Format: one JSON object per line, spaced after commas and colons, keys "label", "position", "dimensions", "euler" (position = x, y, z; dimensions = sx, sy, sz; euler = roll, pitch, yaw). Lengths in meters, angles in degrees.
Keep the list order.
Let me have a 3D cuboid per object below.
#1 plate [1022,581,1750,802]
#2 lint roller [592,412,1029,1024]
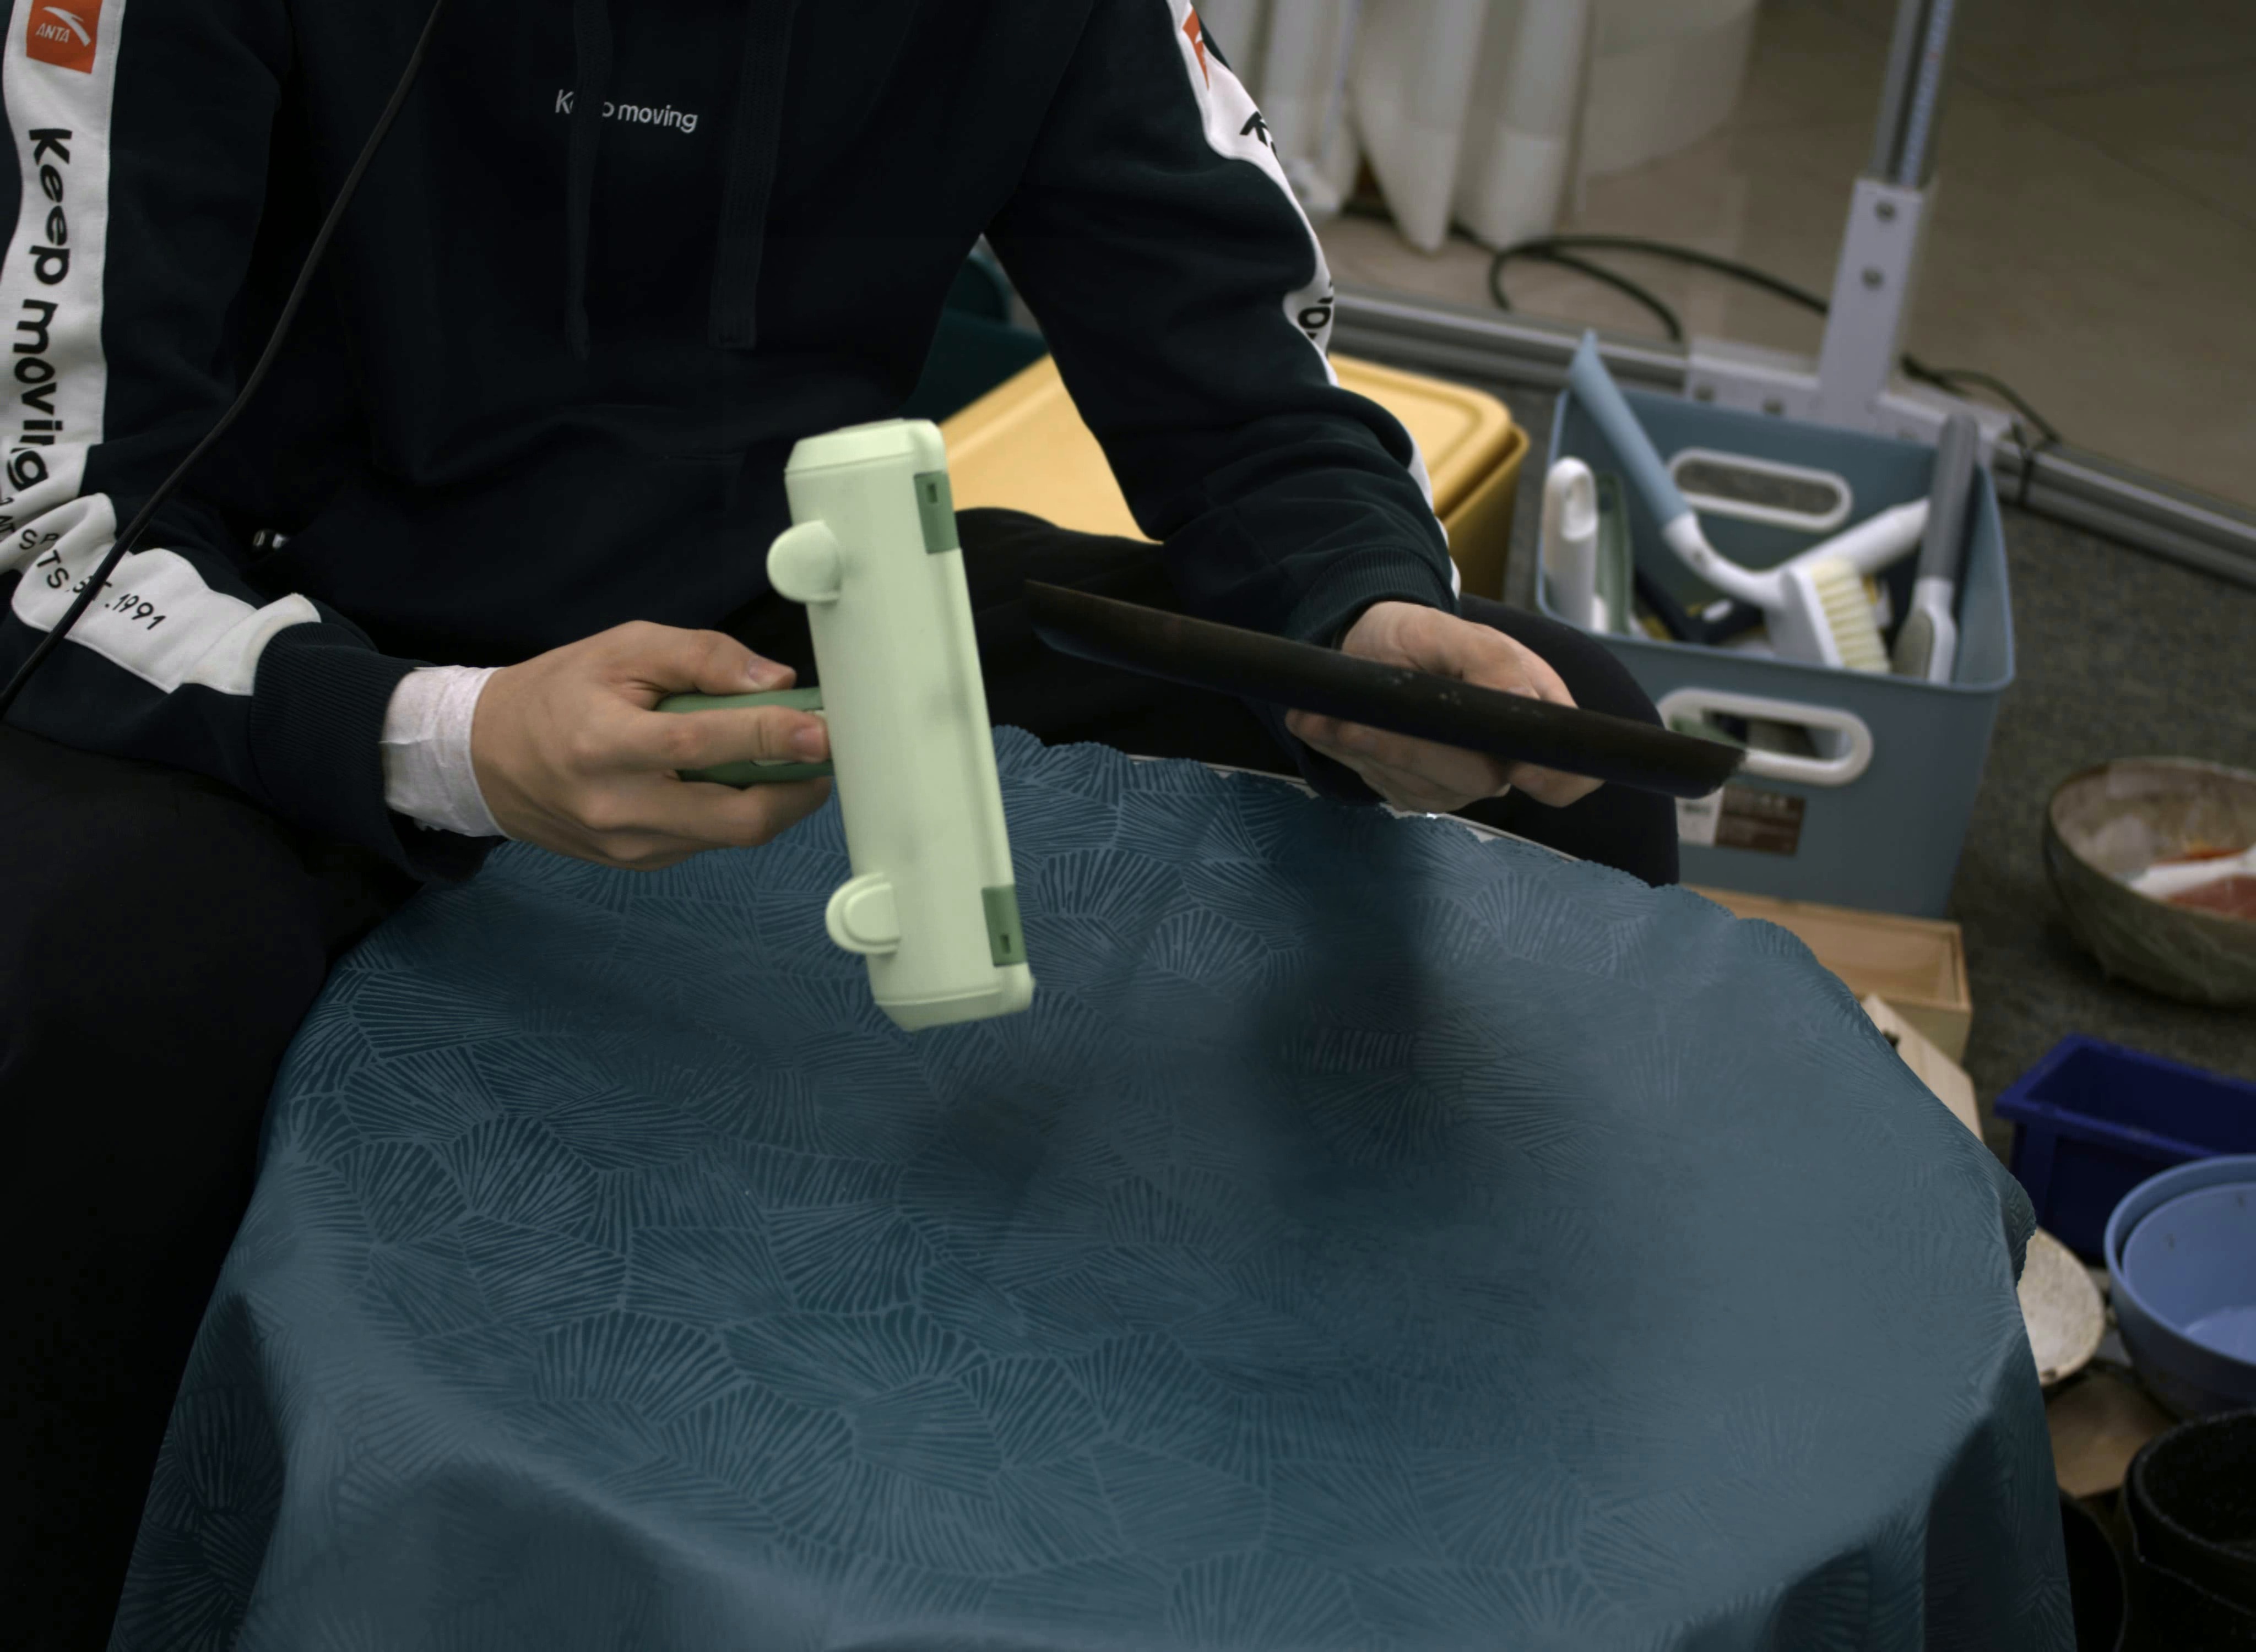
{"label": "plate", "position": [0.086, -0.046, 1.811], "dimensions": [0.254, 0.029, 0.255], "euler": [13, 3, -1]}
{"label": "lint roller", "position": [-0.122, -0.029, 1.761], "dimensions": [0.184, 0.199, 0.082], "euler": [-7, 5, 33]}
